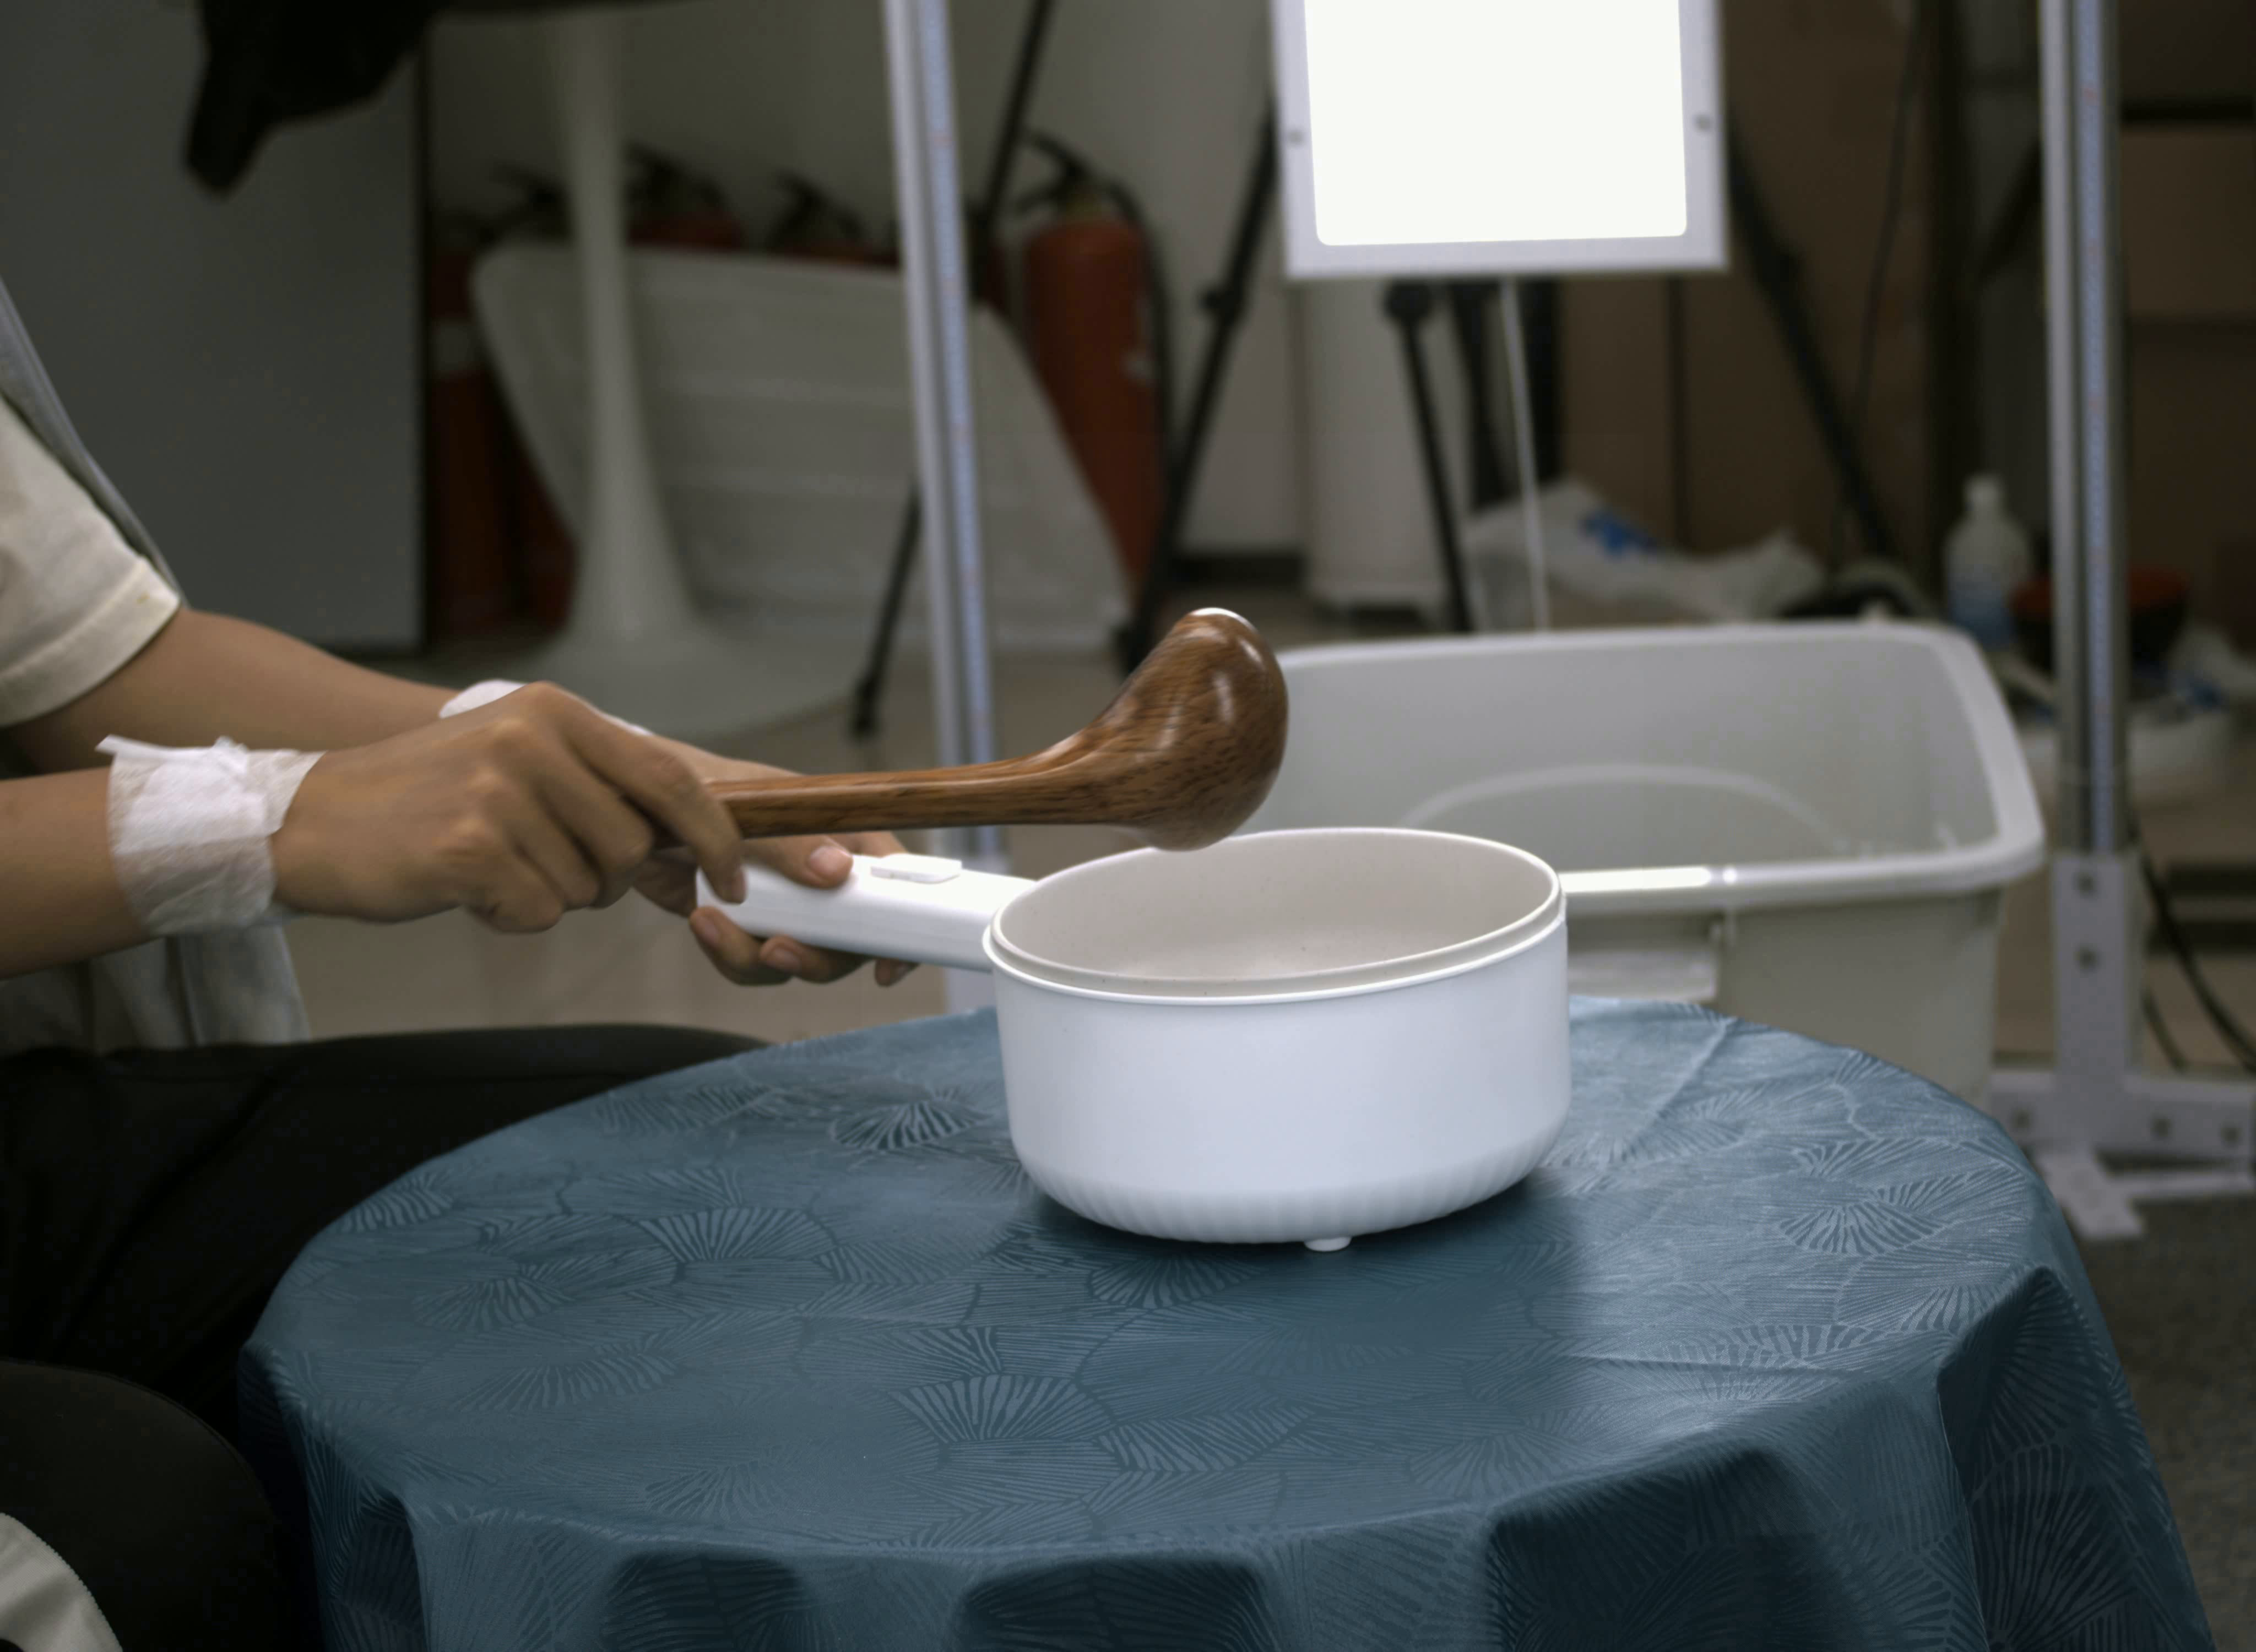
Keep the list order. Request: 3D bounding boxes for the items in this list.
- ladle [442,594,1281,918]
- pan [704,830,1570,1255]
[{"bbox_3d":[-0.084,-0.017,1.772,0.273,0.082,0.076,-9,18,1],"label":"ladle"},{"bbox_3d":[-0.006,0.069,1.930,0.362,0.102,0.196,6,18,40],"label":"pan"}]
